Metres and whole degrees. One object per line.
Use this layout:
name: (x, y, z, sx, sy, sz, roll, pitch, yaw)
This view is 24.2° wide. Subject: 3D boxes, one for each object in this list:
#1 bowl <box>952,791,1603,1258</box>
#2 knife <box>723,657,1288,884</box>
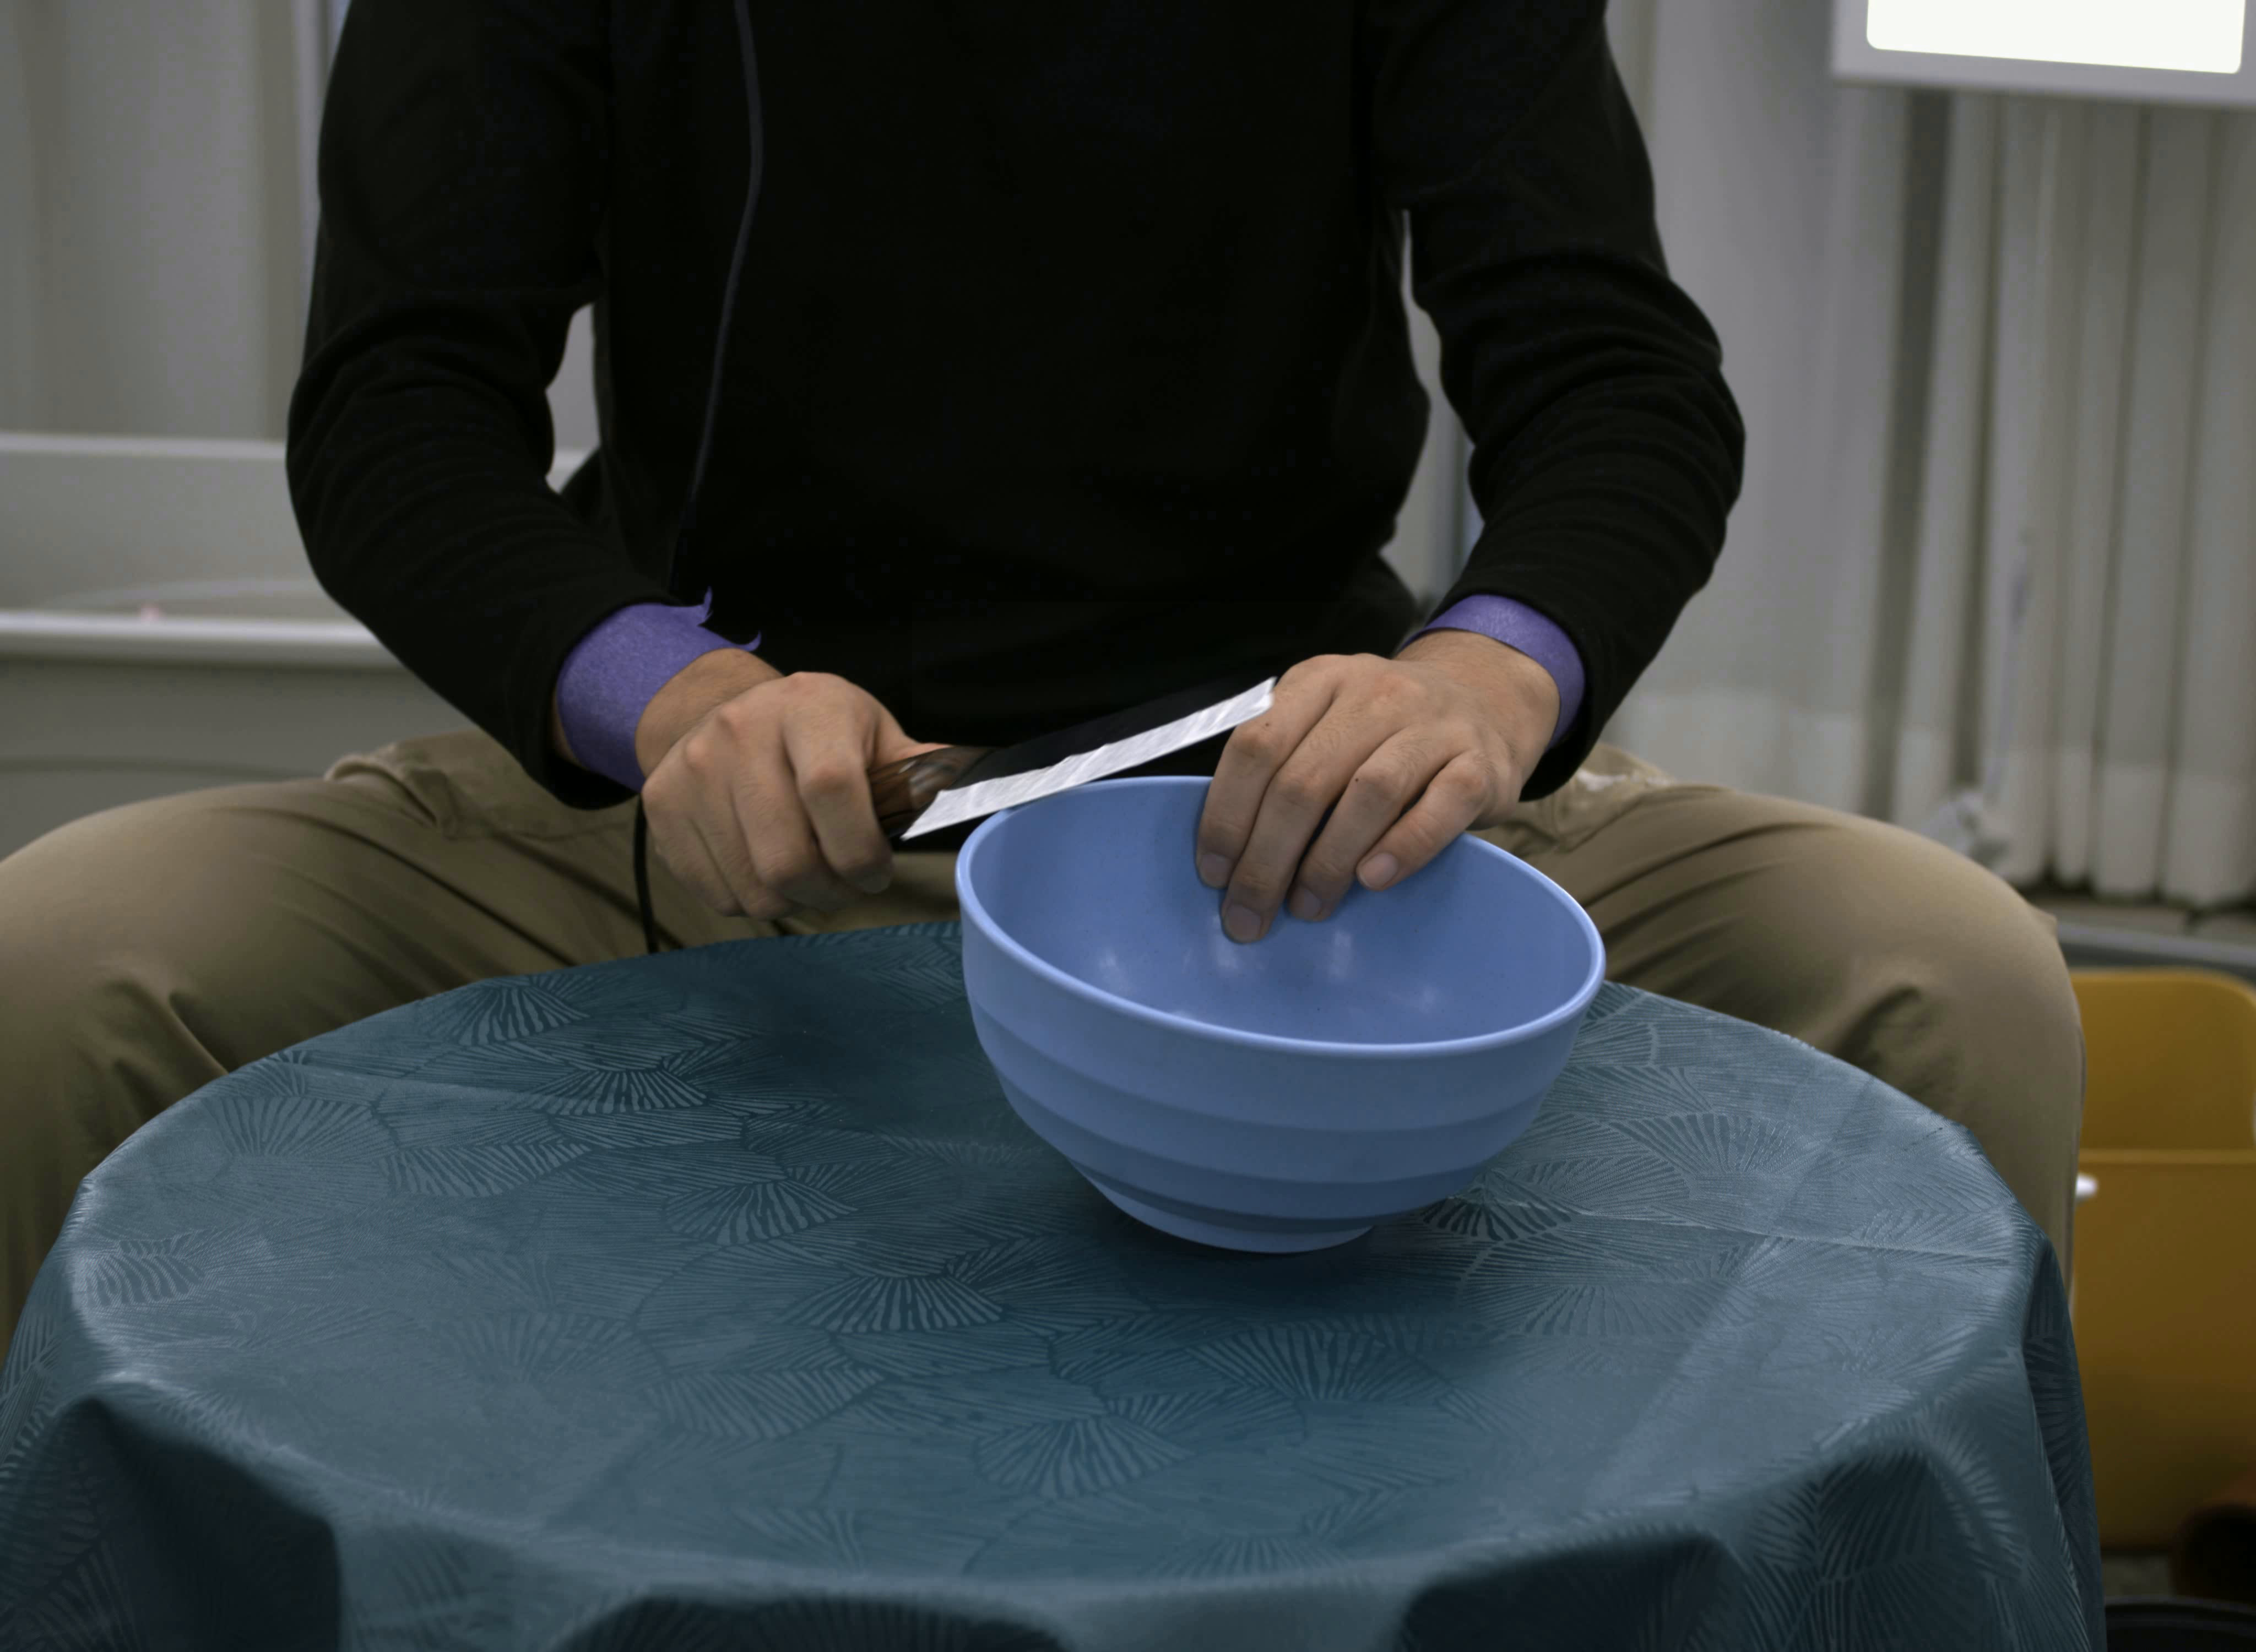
bowl: (0.039, 0.068, 1.588, 0.196, 0.096, 0.195, 7, 21, -2)
knife: (-0.041, -0.016, 1.643, 0.287, 0.020, 0.050, -15, 27, 51)
